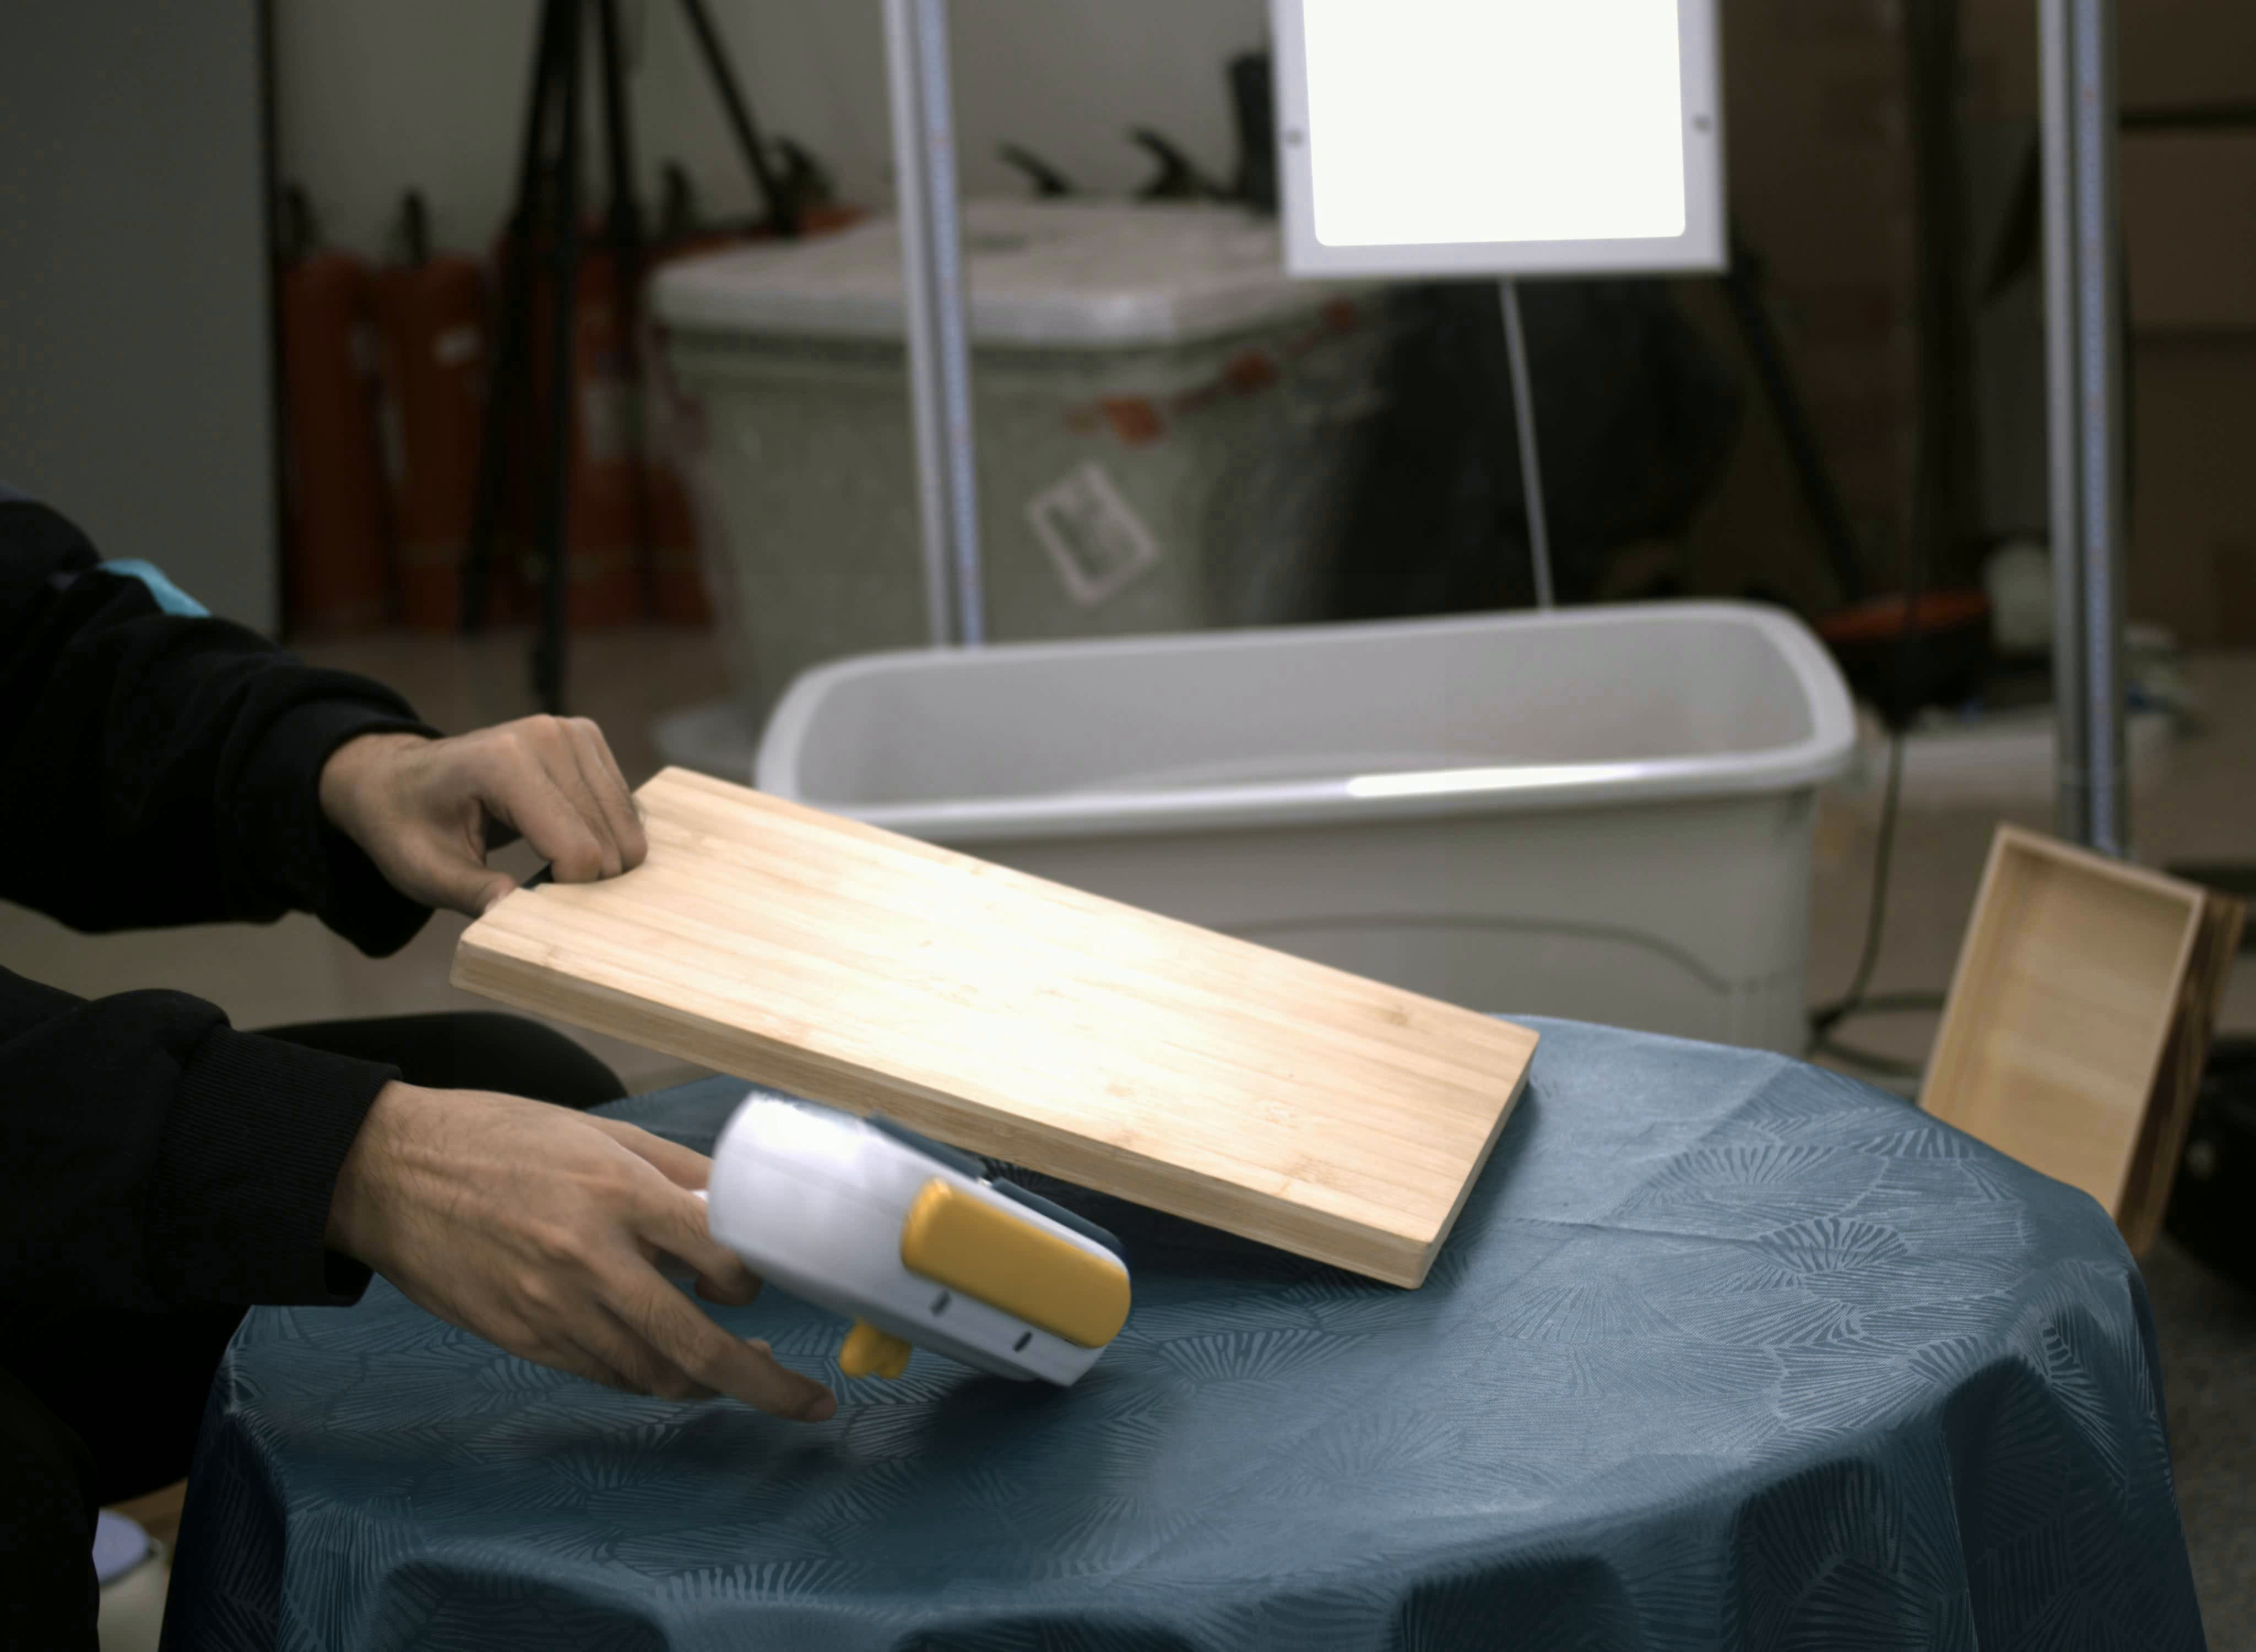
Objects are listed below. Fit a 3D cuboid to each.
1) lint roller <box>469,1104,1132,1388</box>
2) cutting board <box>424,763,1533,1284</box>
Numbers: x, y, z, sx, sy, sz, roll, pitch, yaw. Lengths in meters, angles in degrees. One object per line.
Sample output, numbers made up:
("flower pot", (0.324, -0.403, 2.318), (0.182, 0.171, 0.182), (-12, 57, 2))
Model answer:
("lint roller", (-0.115, 0.126, 1.676), (0.196, 0.074, 0.189), (8, -6, 32))
("cutting board", (-0.044, 0.063, 1.909), (0.350, 0.024, 0.247), (16, 17, 10))
